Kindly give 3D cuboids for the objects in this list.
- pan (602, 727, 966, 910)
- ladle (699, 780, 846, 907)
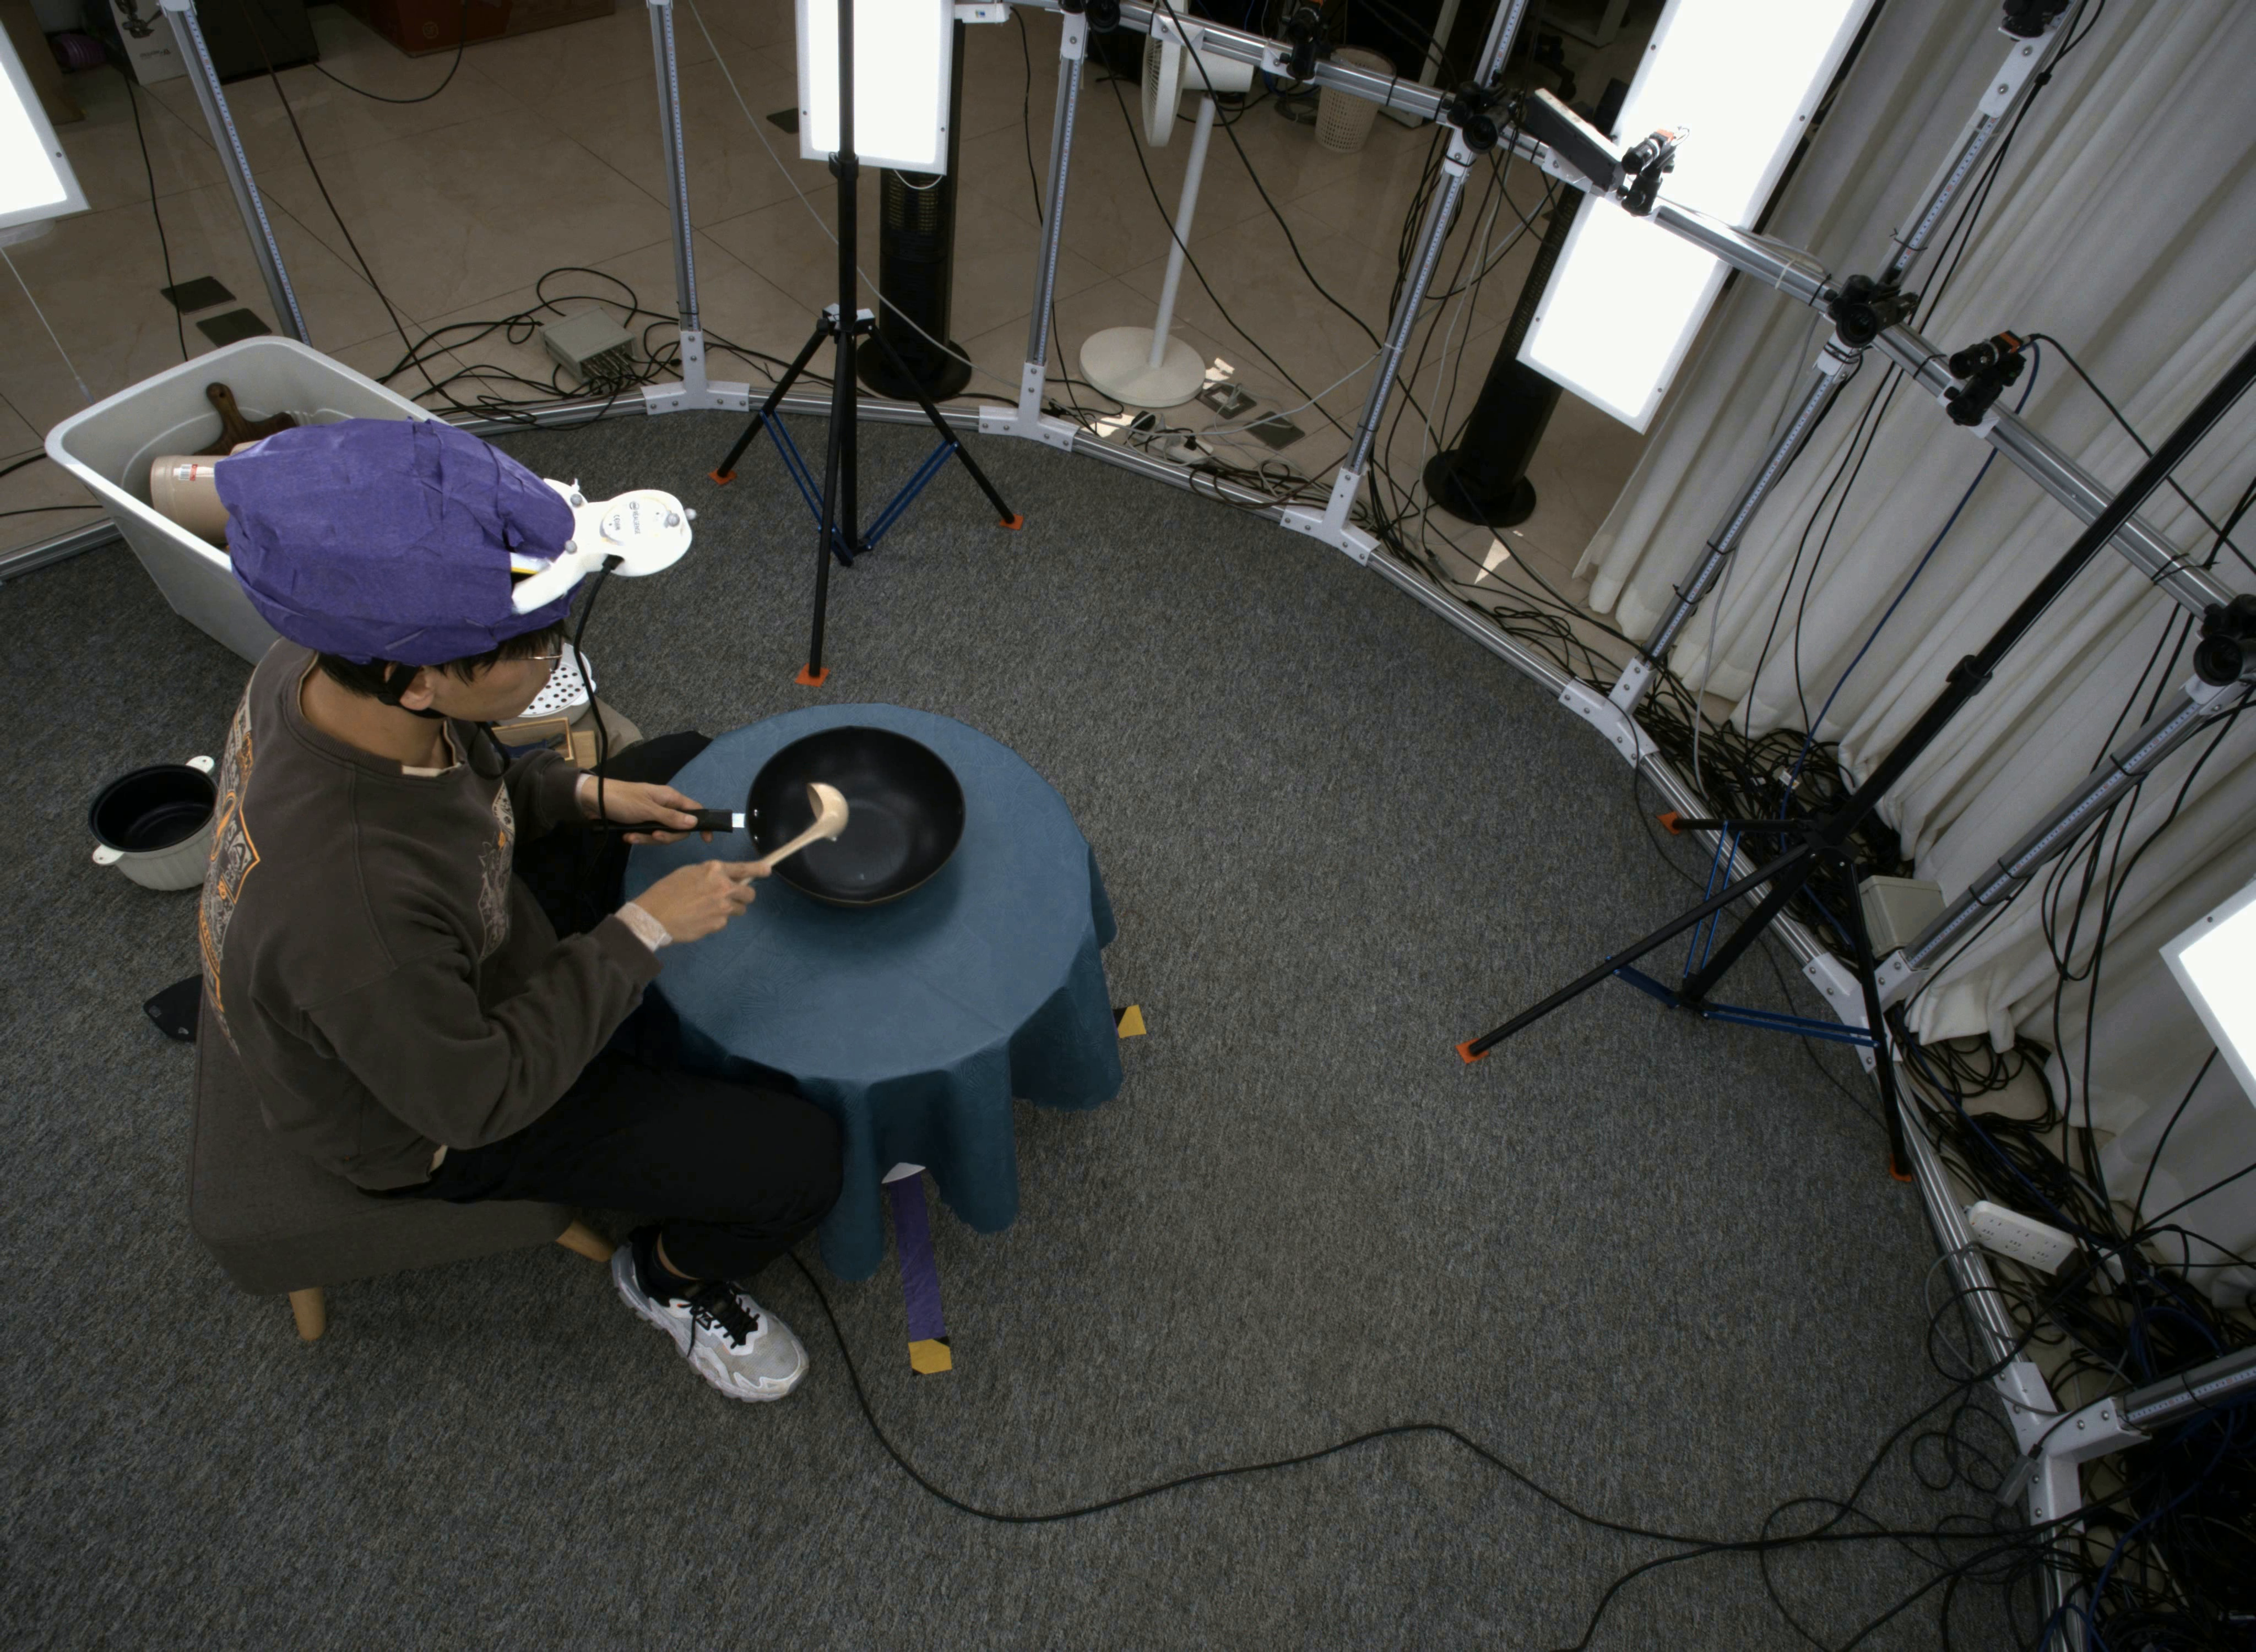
[{"bbox_3d":[-0.440,0.009,1.676,0.464,0.089,0.282,-4,55,-14],"label":"pan"},{"bbox_3d":[-0.439,0.021,1.547,0.070,0.074,0.255,13,34,30],"label":"ladle"}]
